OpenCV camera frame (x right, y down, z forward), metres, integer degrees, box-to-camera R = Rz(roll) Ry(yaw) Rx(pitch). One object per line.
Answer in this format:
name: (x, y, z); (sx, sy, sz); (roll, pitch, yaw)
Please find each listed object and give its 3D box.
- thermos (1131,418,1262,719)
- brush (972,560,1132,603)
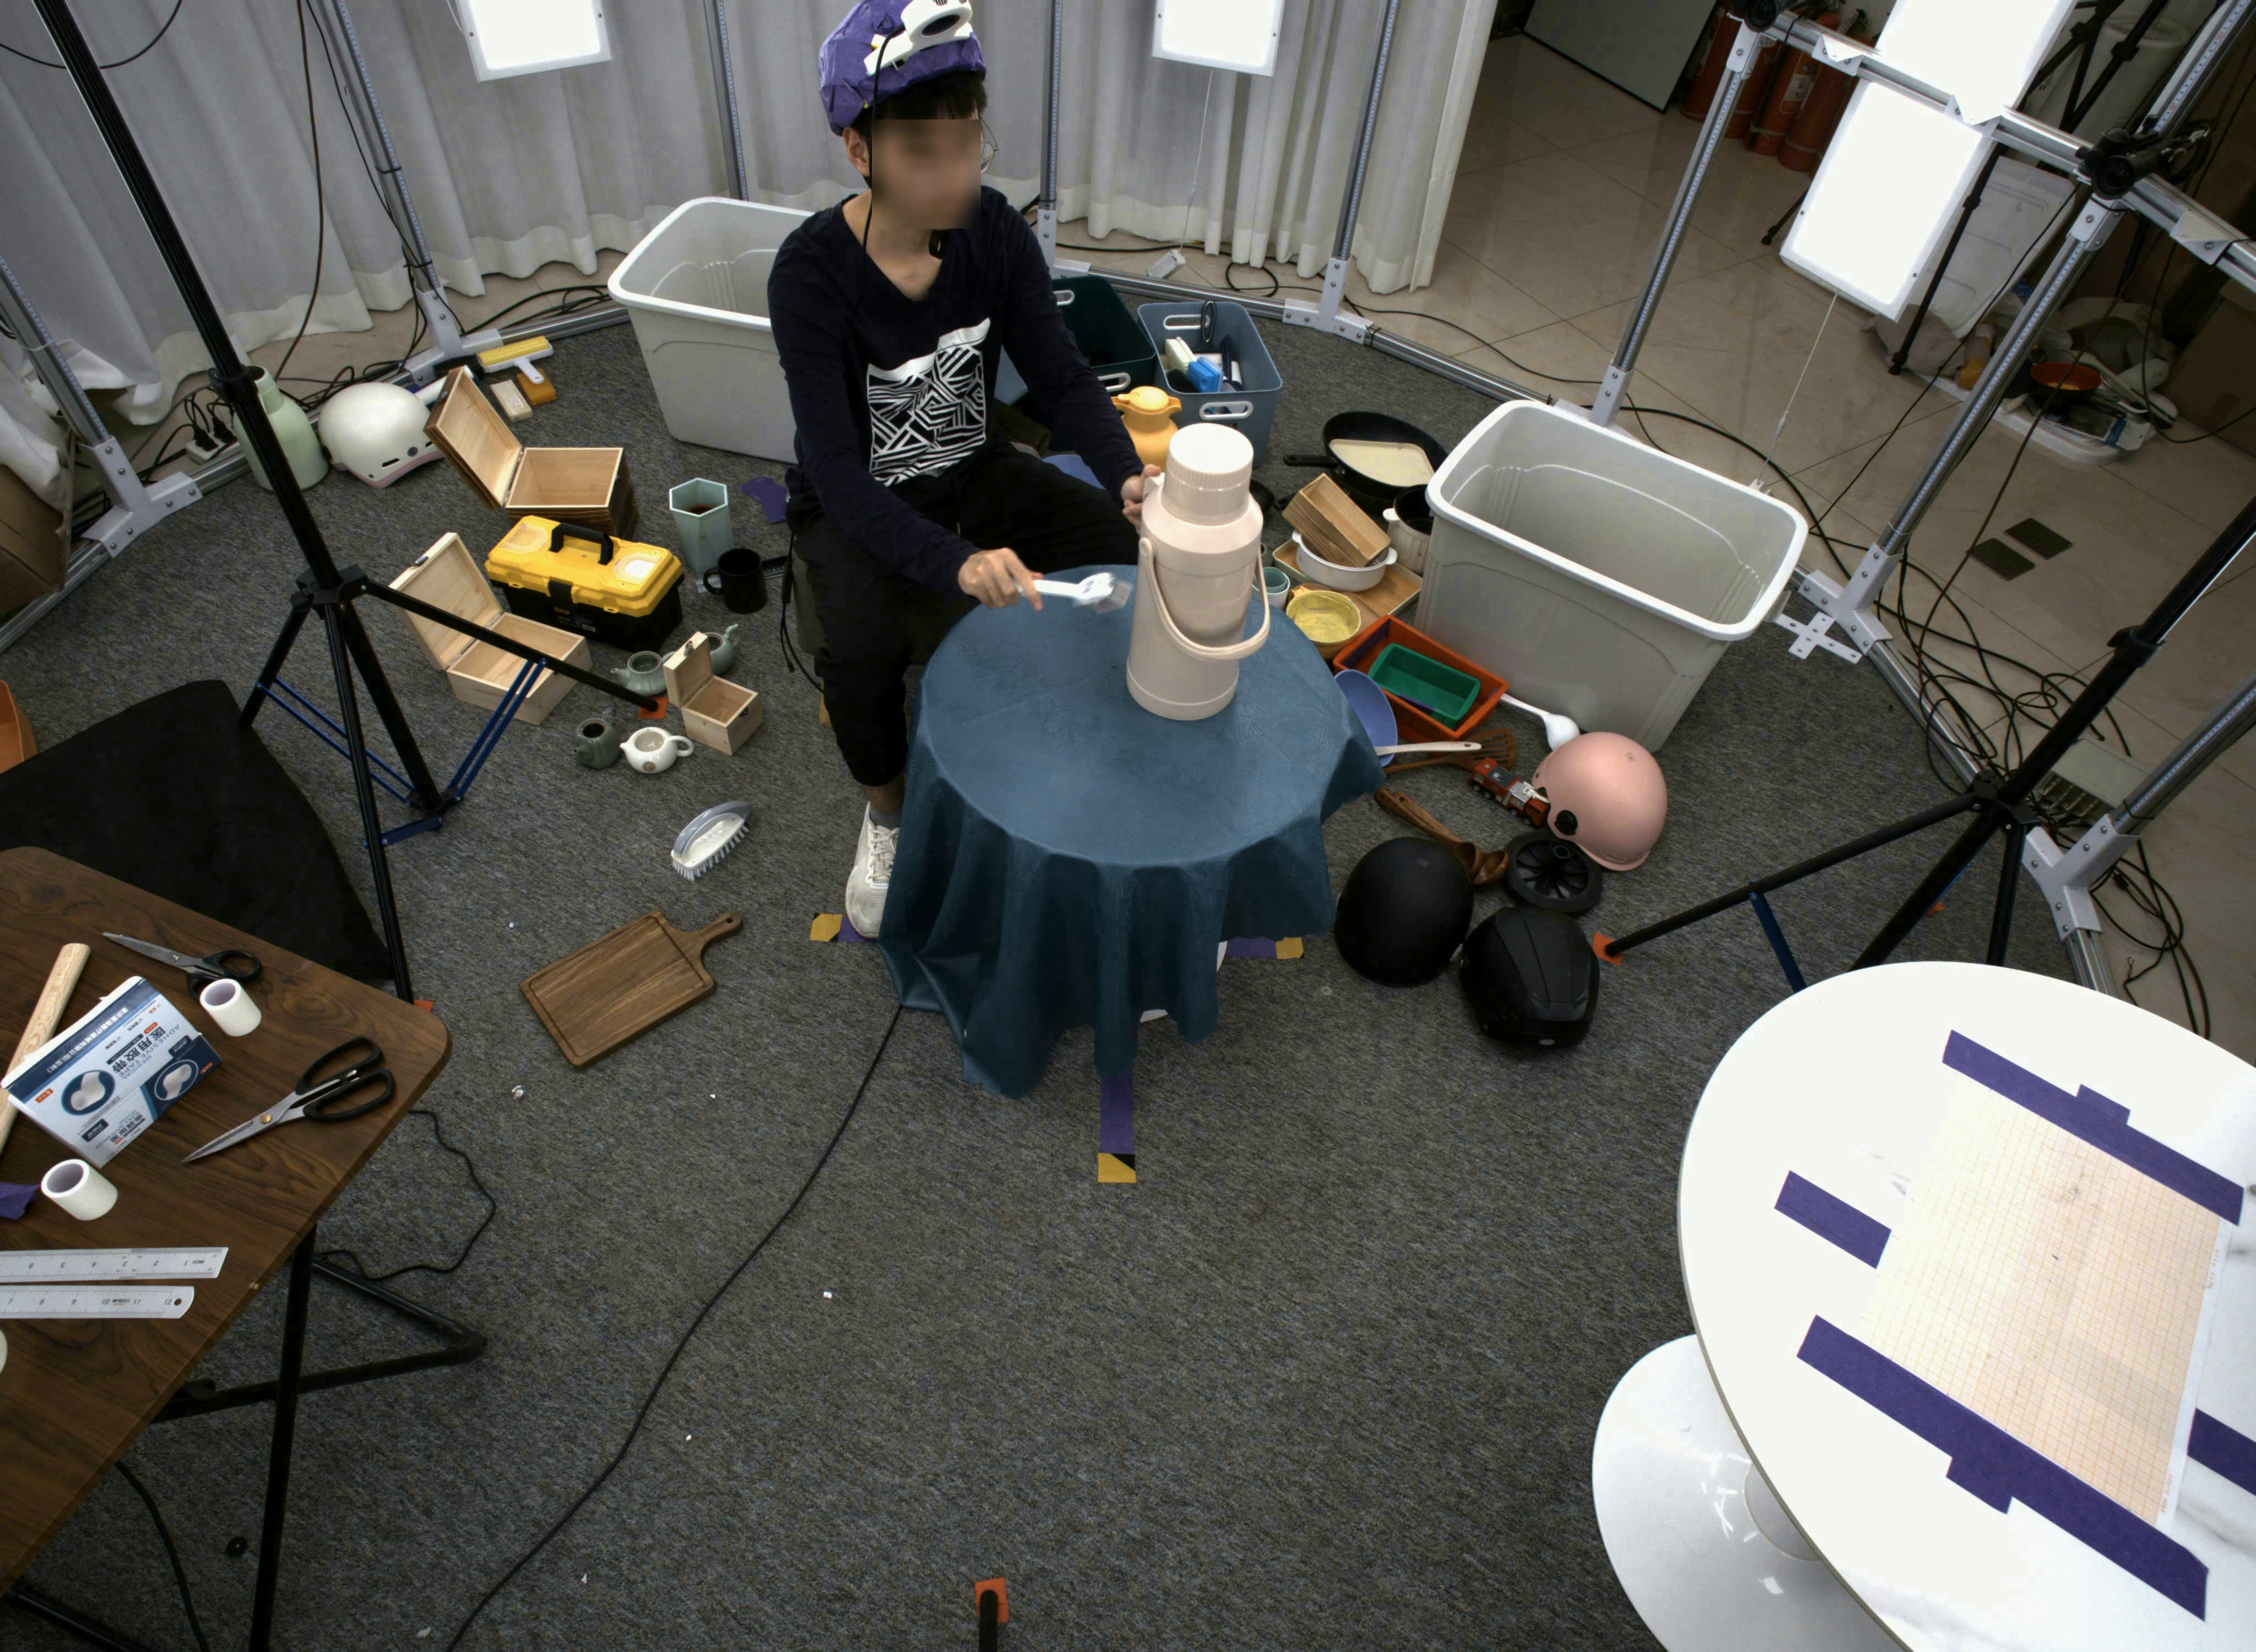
thermos: (0.084, -0.346, 1.718); (0.176, 0.396, 0.211); (-25, 55, -22)
brush: (-0.097, -0.299, 1.629); (0.244, 0.049, 0.035); (1, 69, 39)
